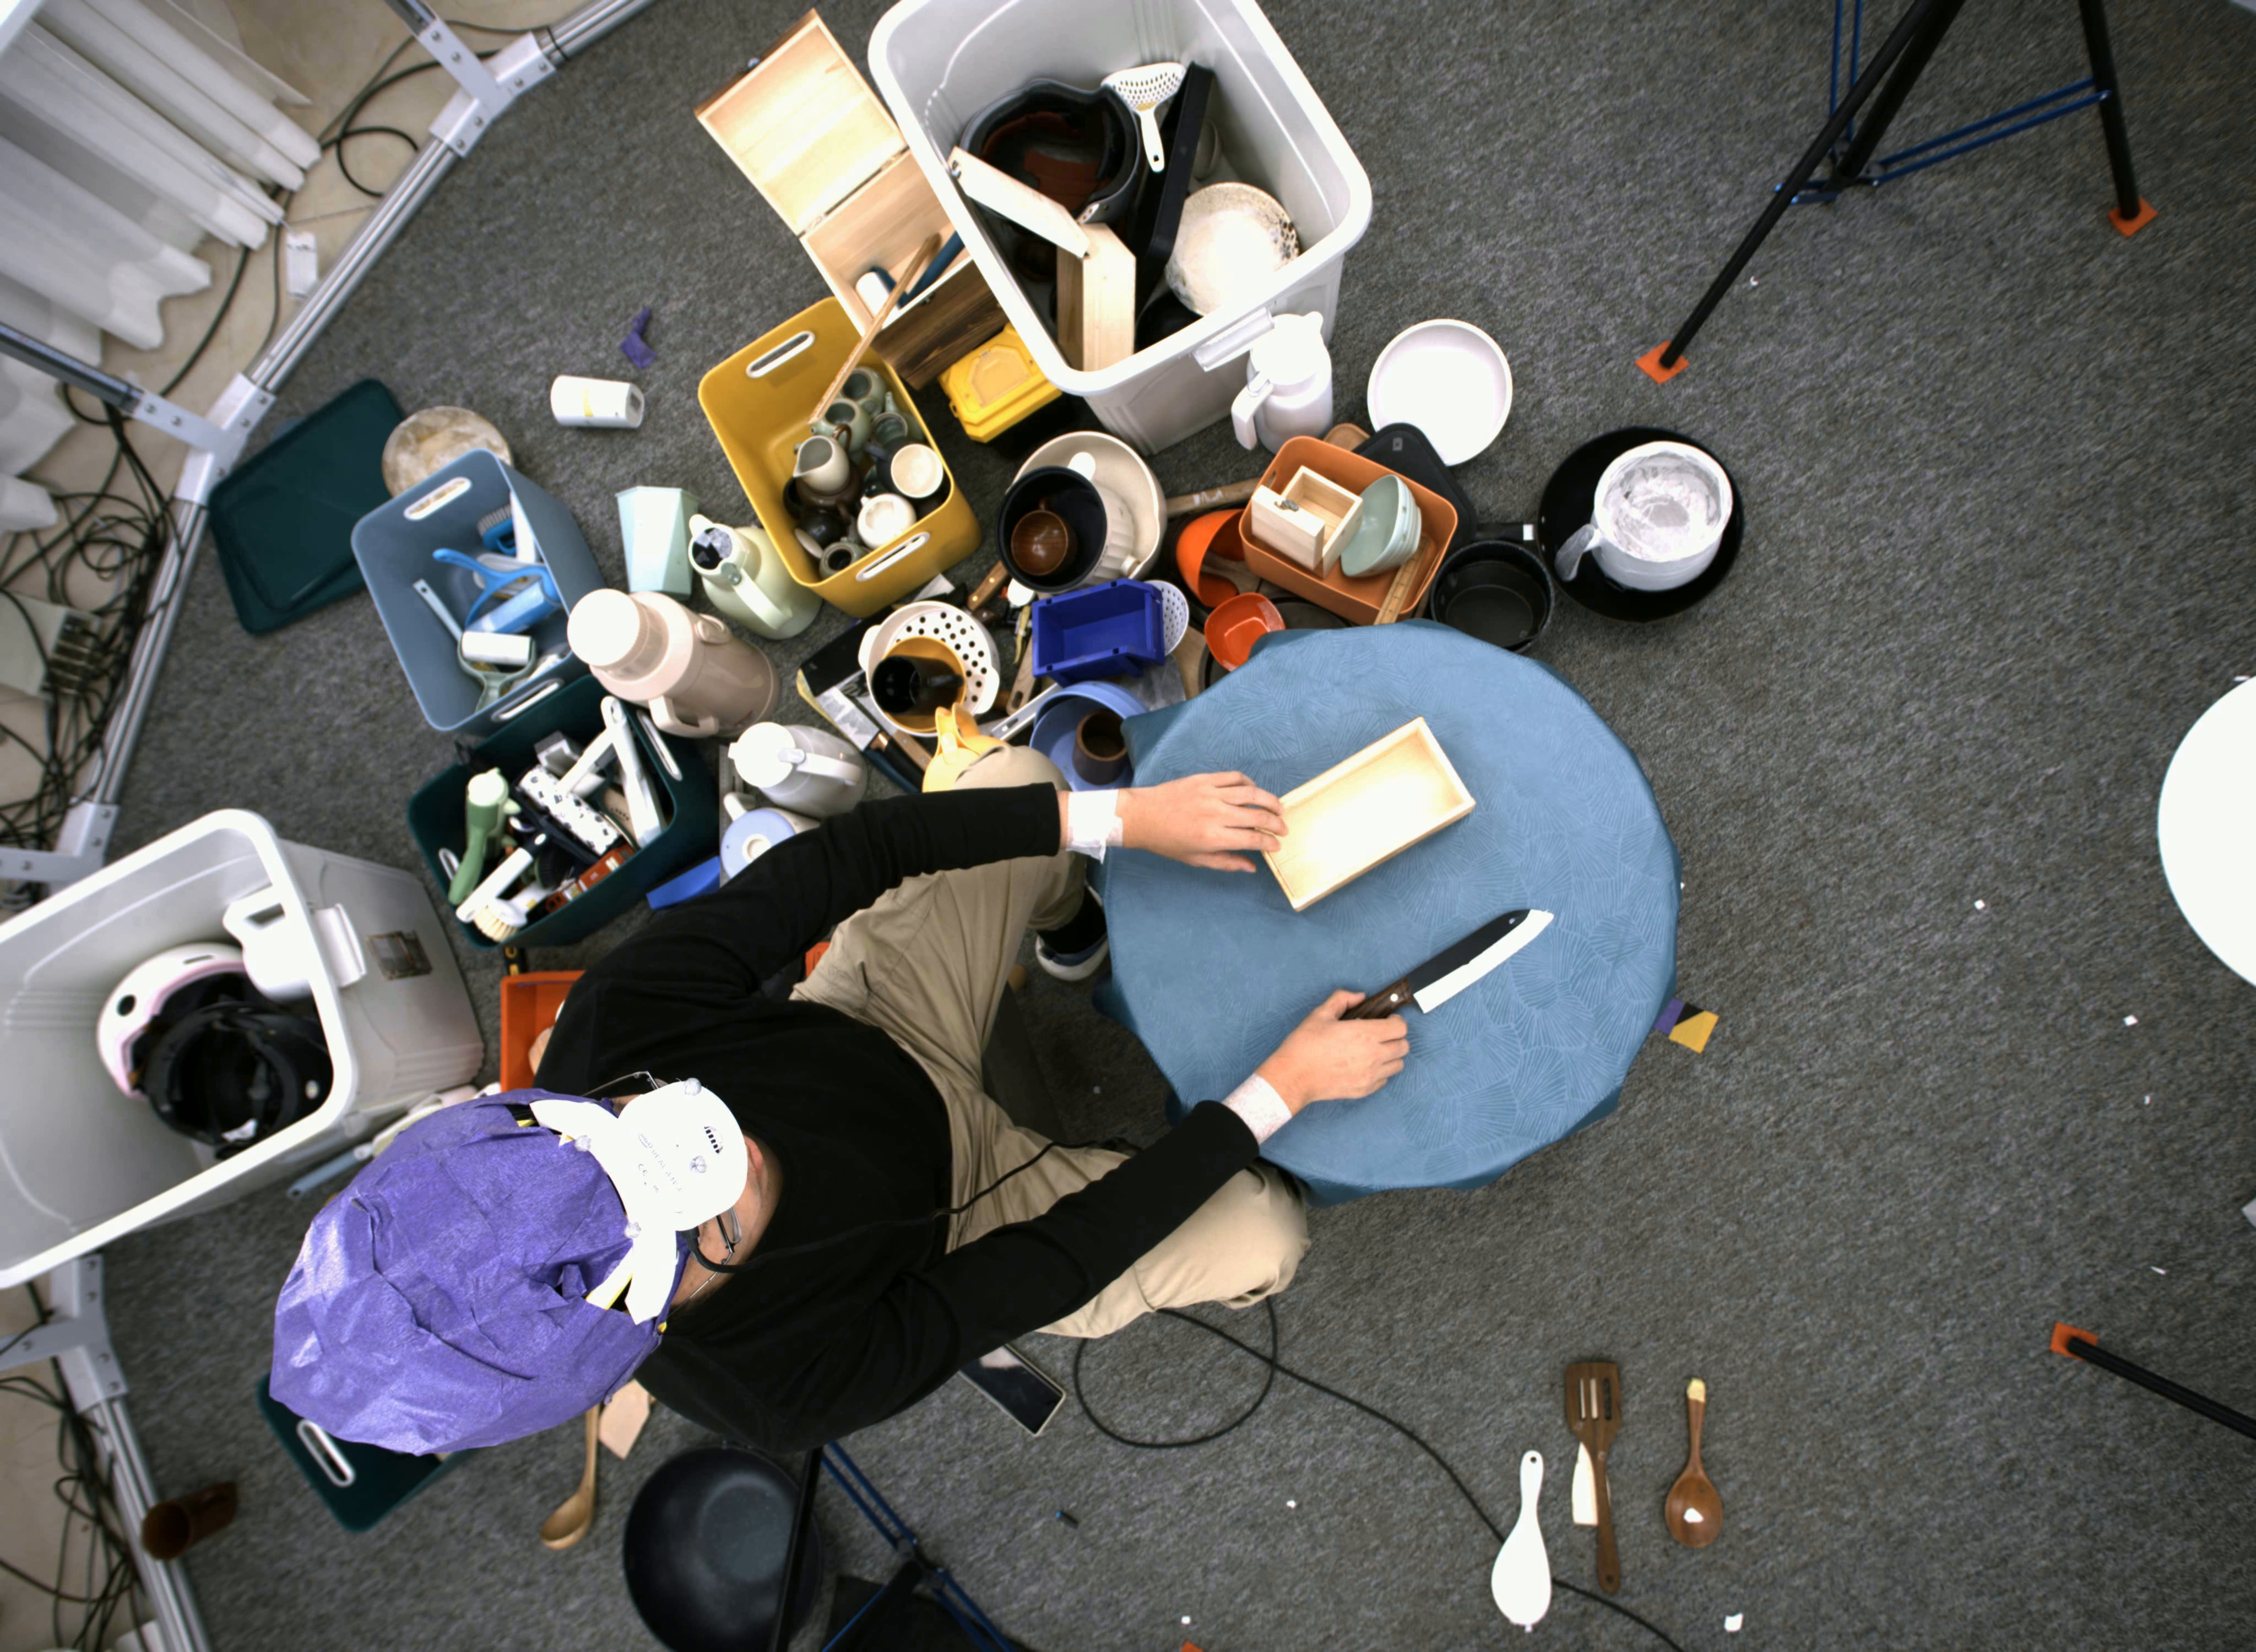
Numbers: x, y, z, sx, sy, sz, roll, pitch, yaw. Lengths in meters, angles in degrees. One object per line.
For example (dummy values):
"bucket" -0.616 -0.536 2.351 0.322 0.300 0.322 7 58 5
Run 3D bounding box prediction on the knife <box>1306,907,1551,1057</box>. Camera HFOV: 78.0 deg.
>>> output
"knife" 0.314 0.160 1.440 0.290 0.020 0.050 -30 89 5

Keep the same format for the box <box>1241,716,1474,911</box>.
"box" 0.237 -0.012 1.431 0.212 0.080 0.107 -31 81 7
